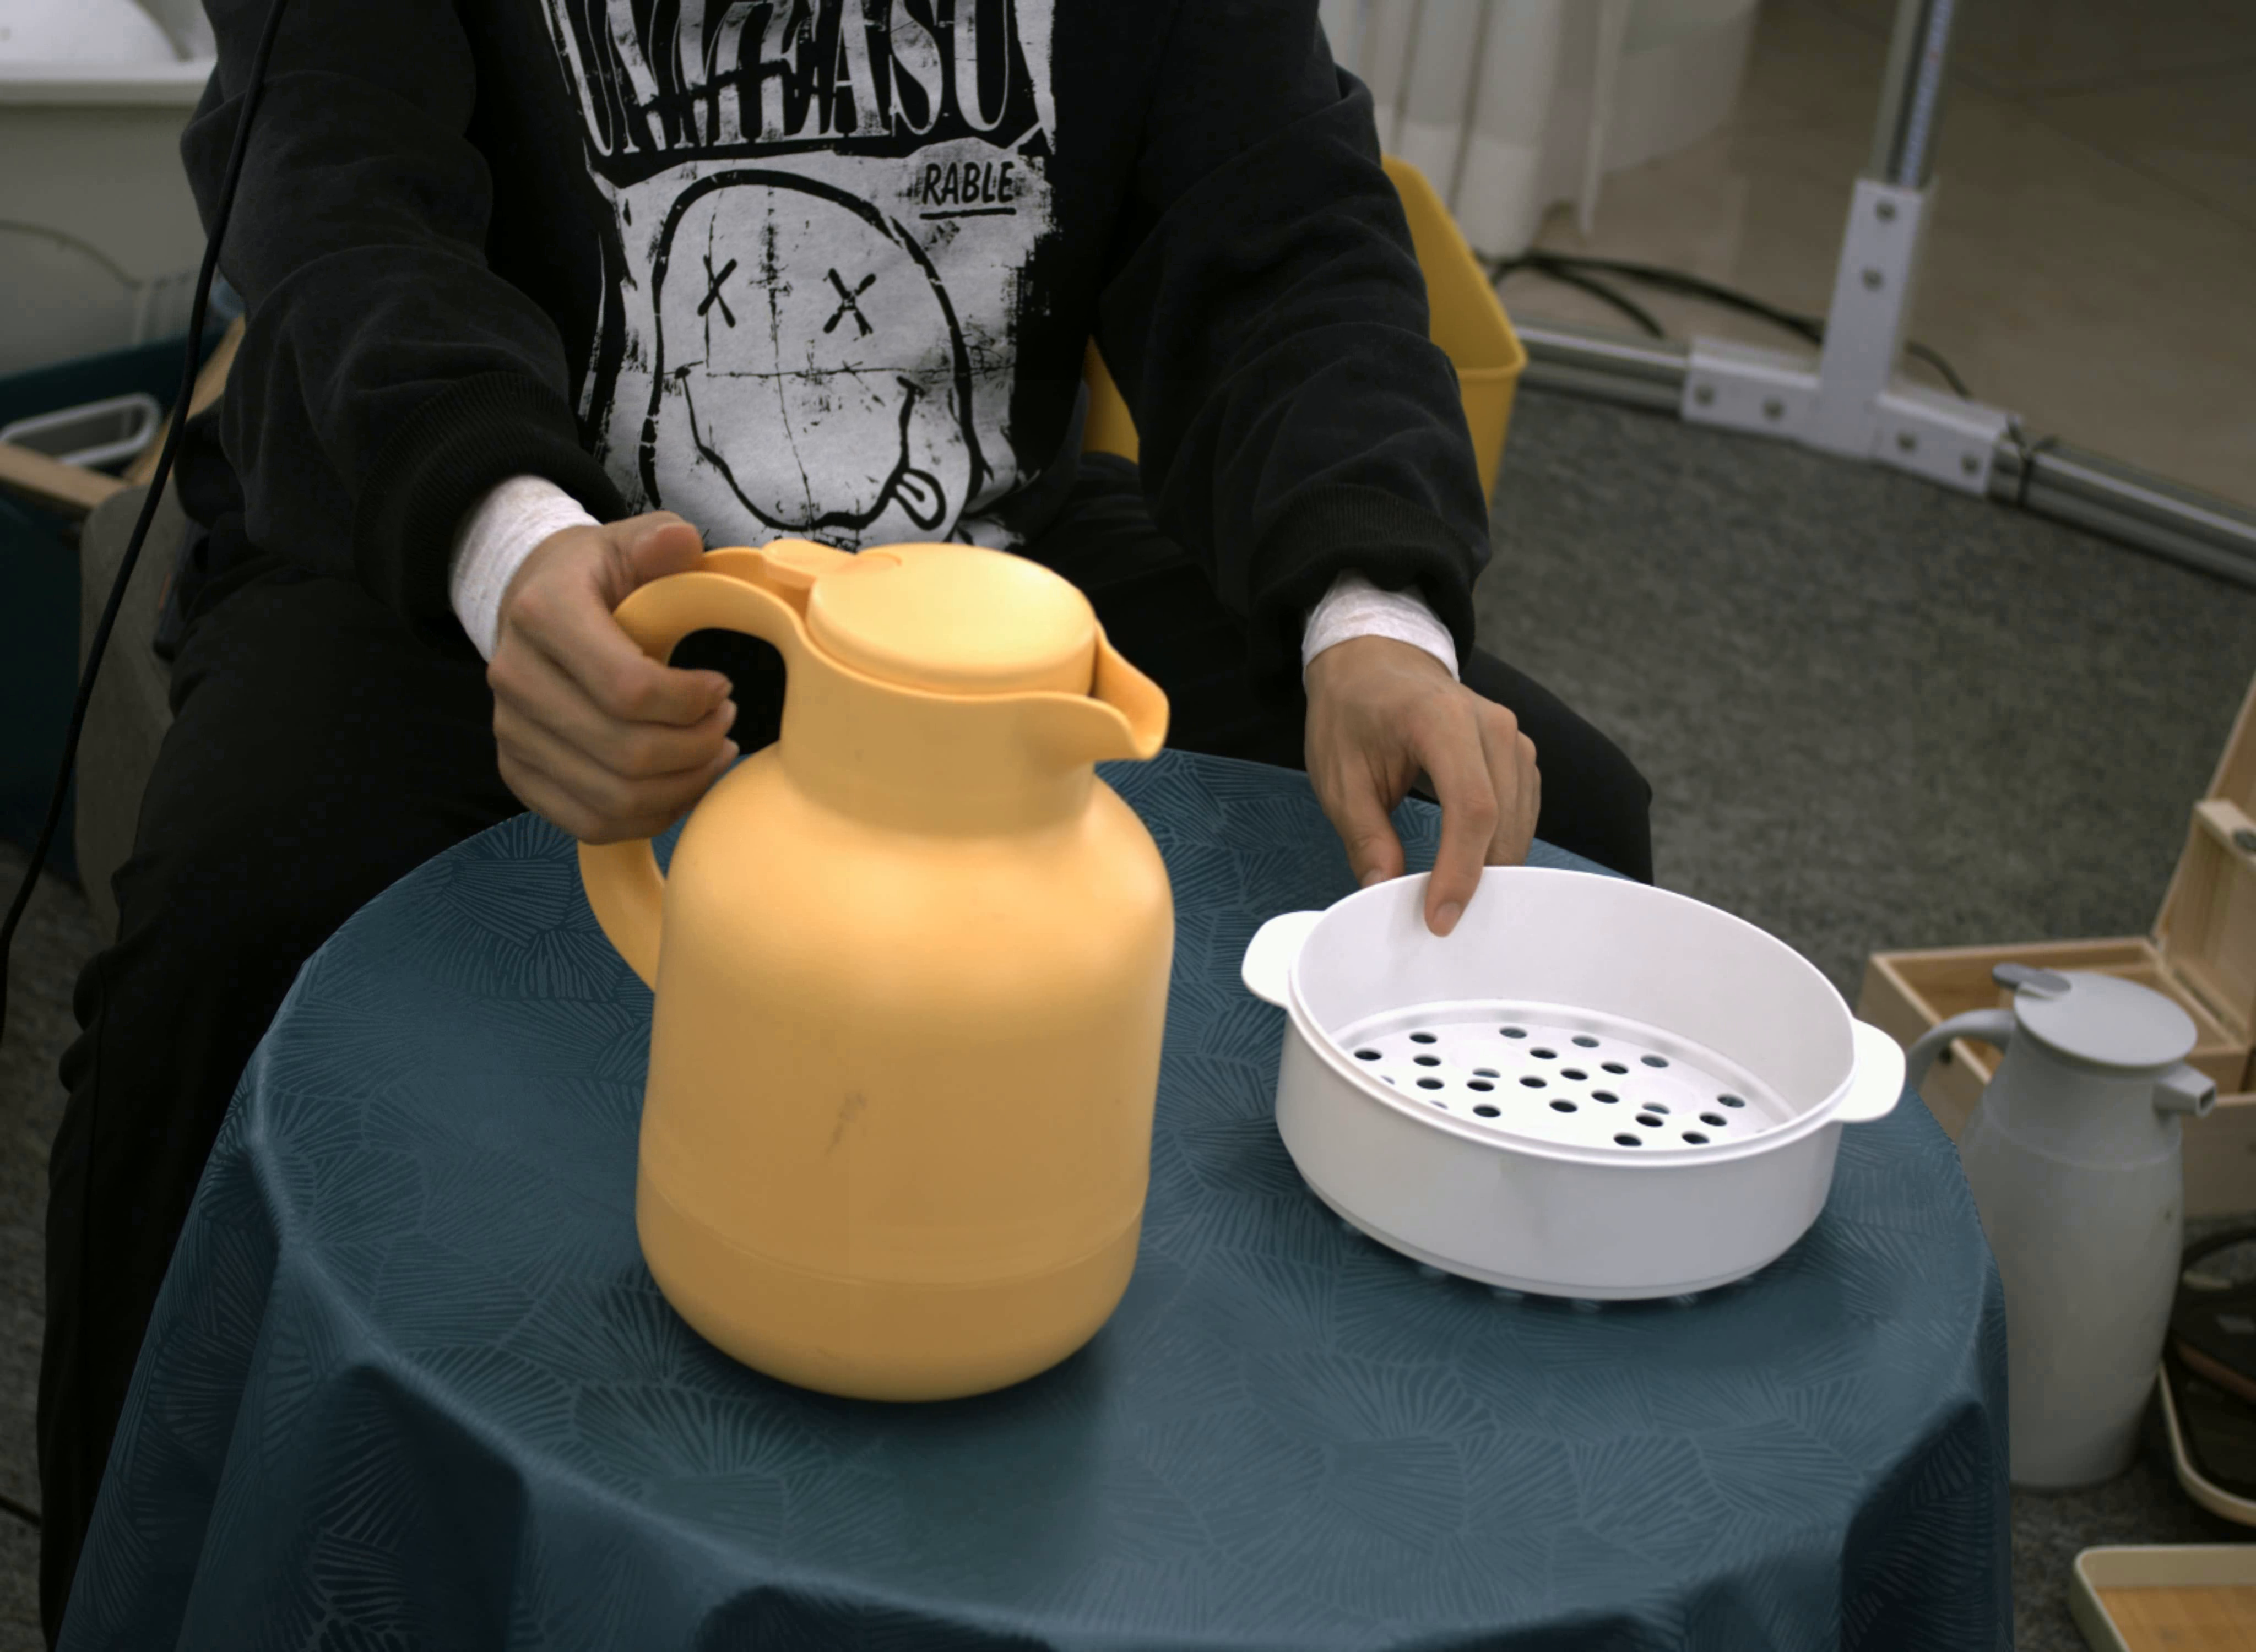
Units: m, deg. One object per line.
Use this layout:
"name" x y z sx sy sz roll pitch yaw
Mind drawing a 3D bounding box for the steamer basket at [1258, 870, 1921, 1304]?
"steamer basket" 0.153 0.090 1.831 0.230 0.069 0.202 13 26 8

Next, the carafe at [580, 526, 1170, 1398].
"carafe" -0.085 0.032 1.677 0.203 0.260 0.163 22 28 25
